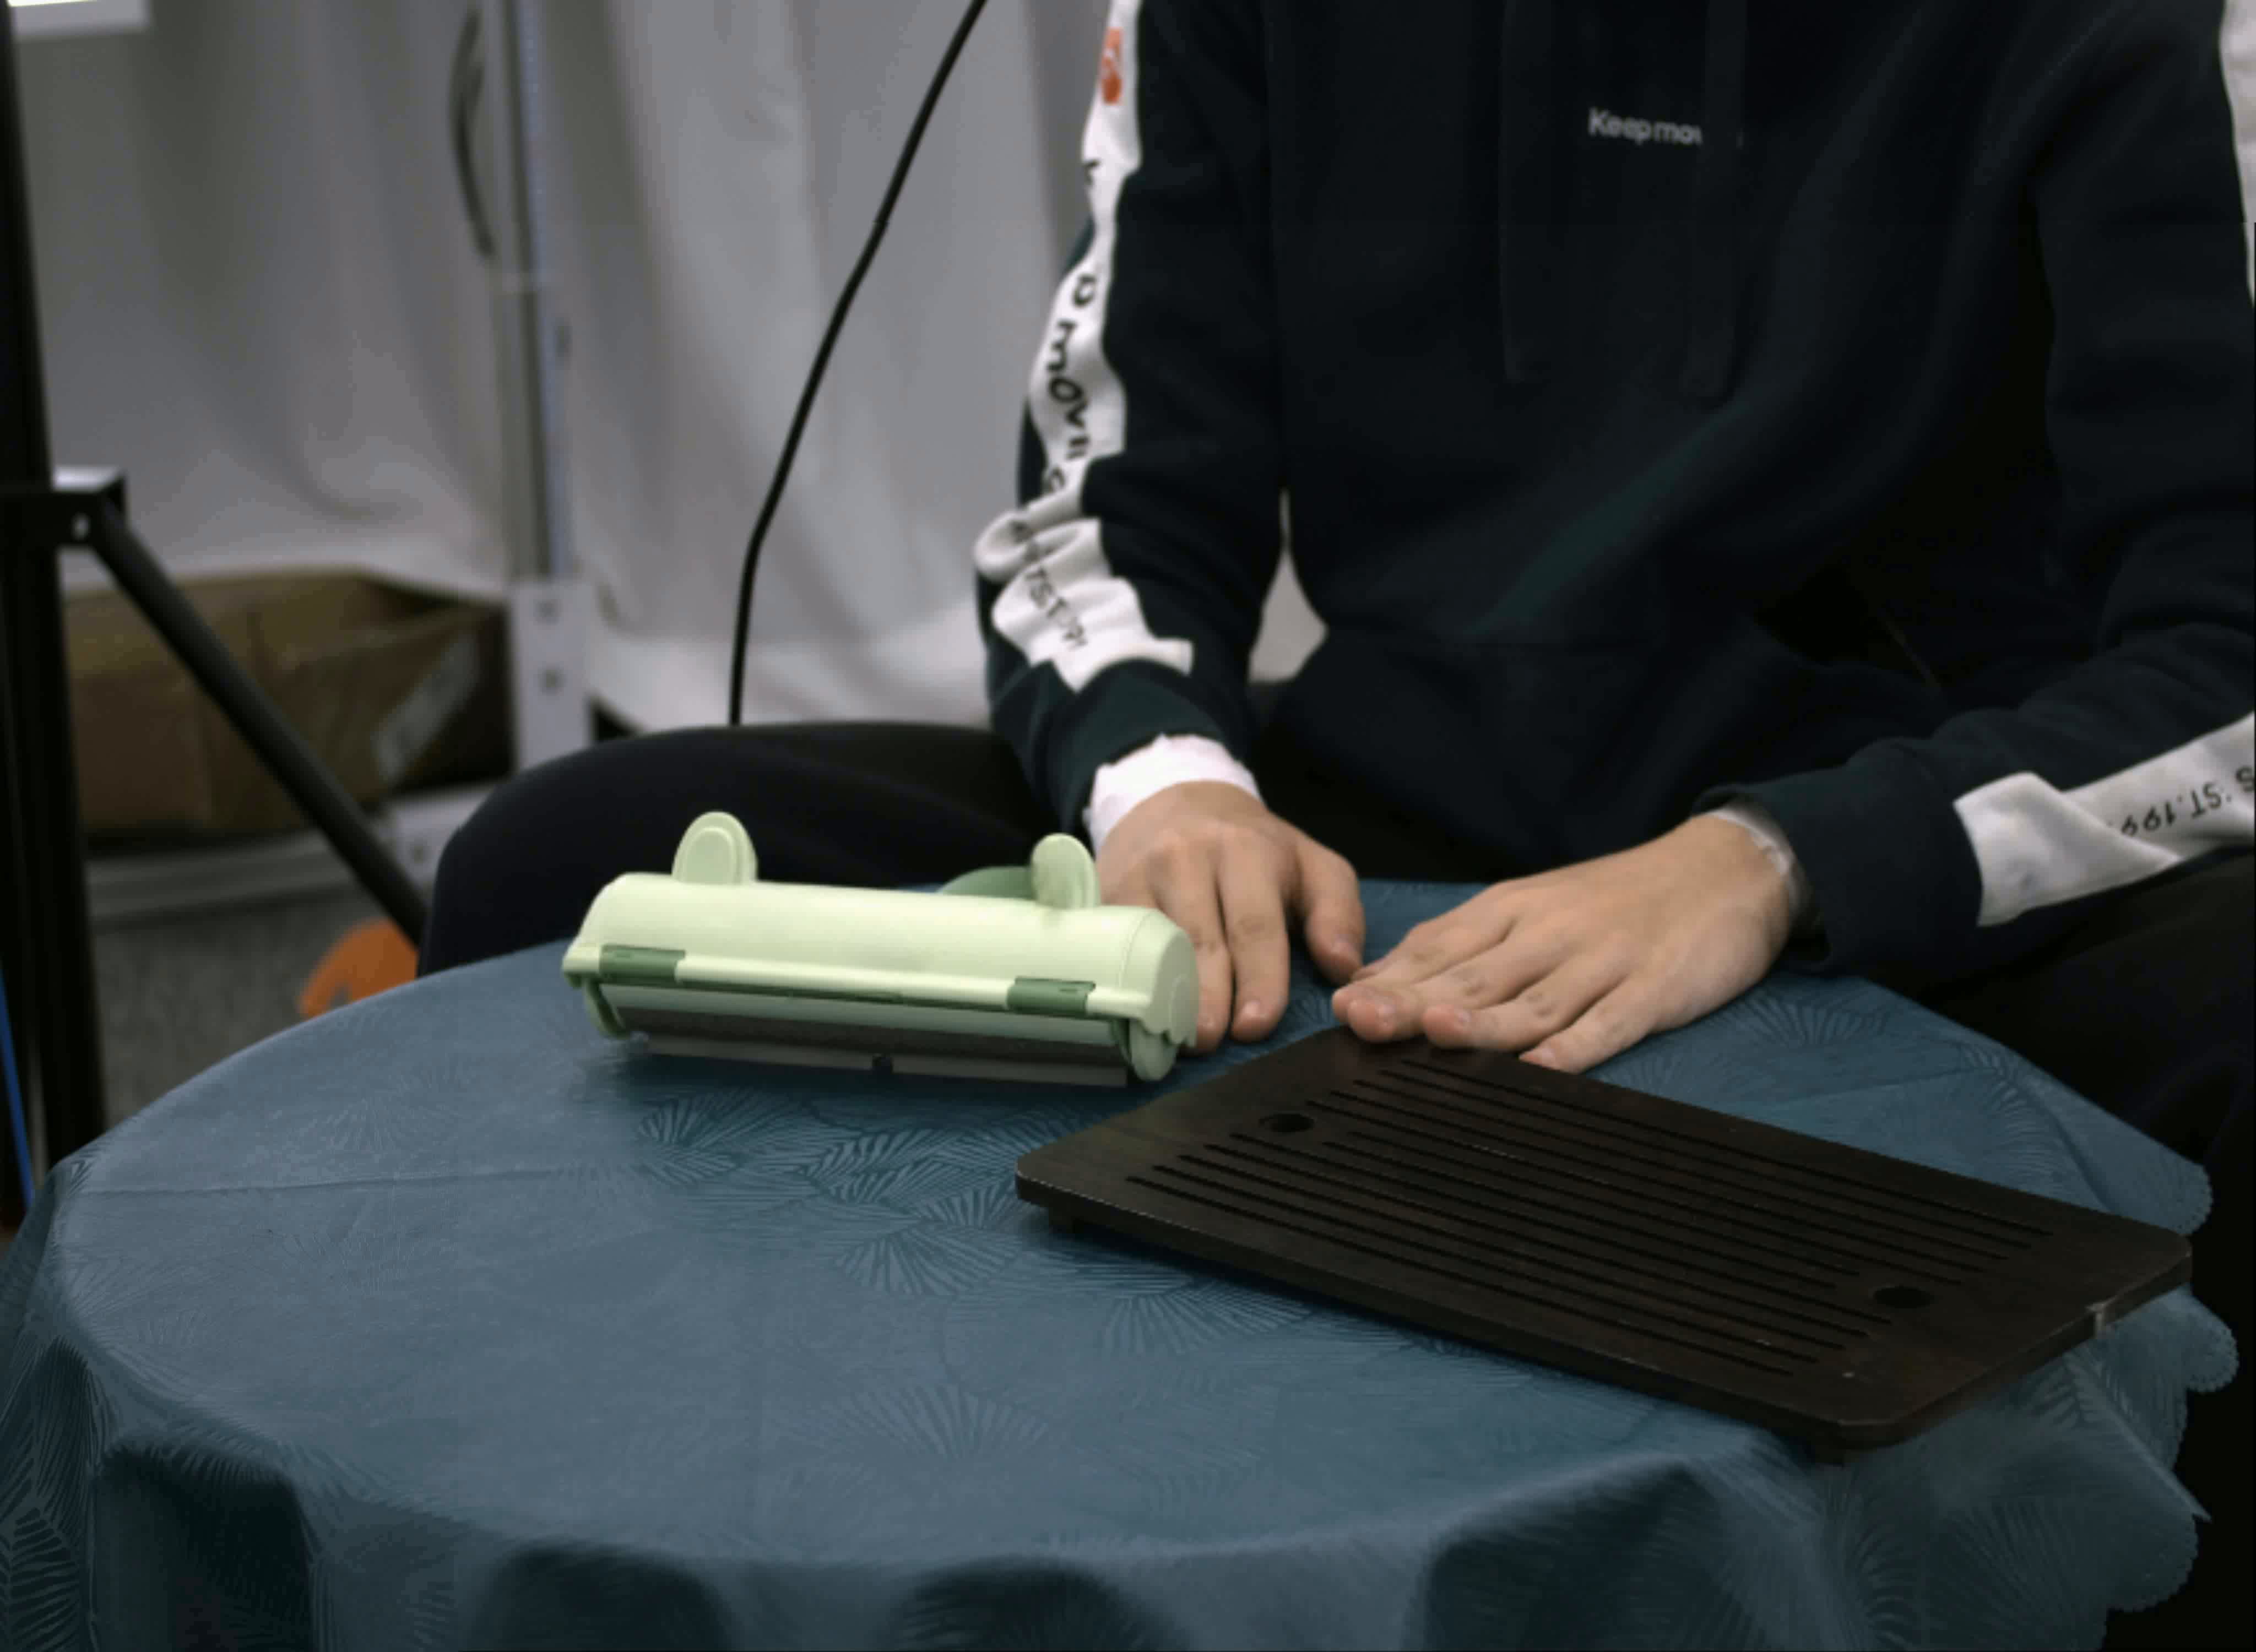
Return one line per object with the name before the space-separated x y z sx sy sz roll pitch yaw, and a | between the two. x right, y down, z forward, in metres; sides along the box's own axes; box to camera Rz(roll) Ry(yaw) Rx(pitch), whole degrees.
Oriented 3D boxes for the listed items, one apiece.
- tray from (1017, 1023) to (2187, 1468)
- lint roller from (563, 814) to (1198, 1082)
tray | 0.132 0.115 1.495 0.313 0.018 0.166 13 23 40
lint roller | -0.060 0.023 1.721 0.201 0.082 0.181 3 20 20
